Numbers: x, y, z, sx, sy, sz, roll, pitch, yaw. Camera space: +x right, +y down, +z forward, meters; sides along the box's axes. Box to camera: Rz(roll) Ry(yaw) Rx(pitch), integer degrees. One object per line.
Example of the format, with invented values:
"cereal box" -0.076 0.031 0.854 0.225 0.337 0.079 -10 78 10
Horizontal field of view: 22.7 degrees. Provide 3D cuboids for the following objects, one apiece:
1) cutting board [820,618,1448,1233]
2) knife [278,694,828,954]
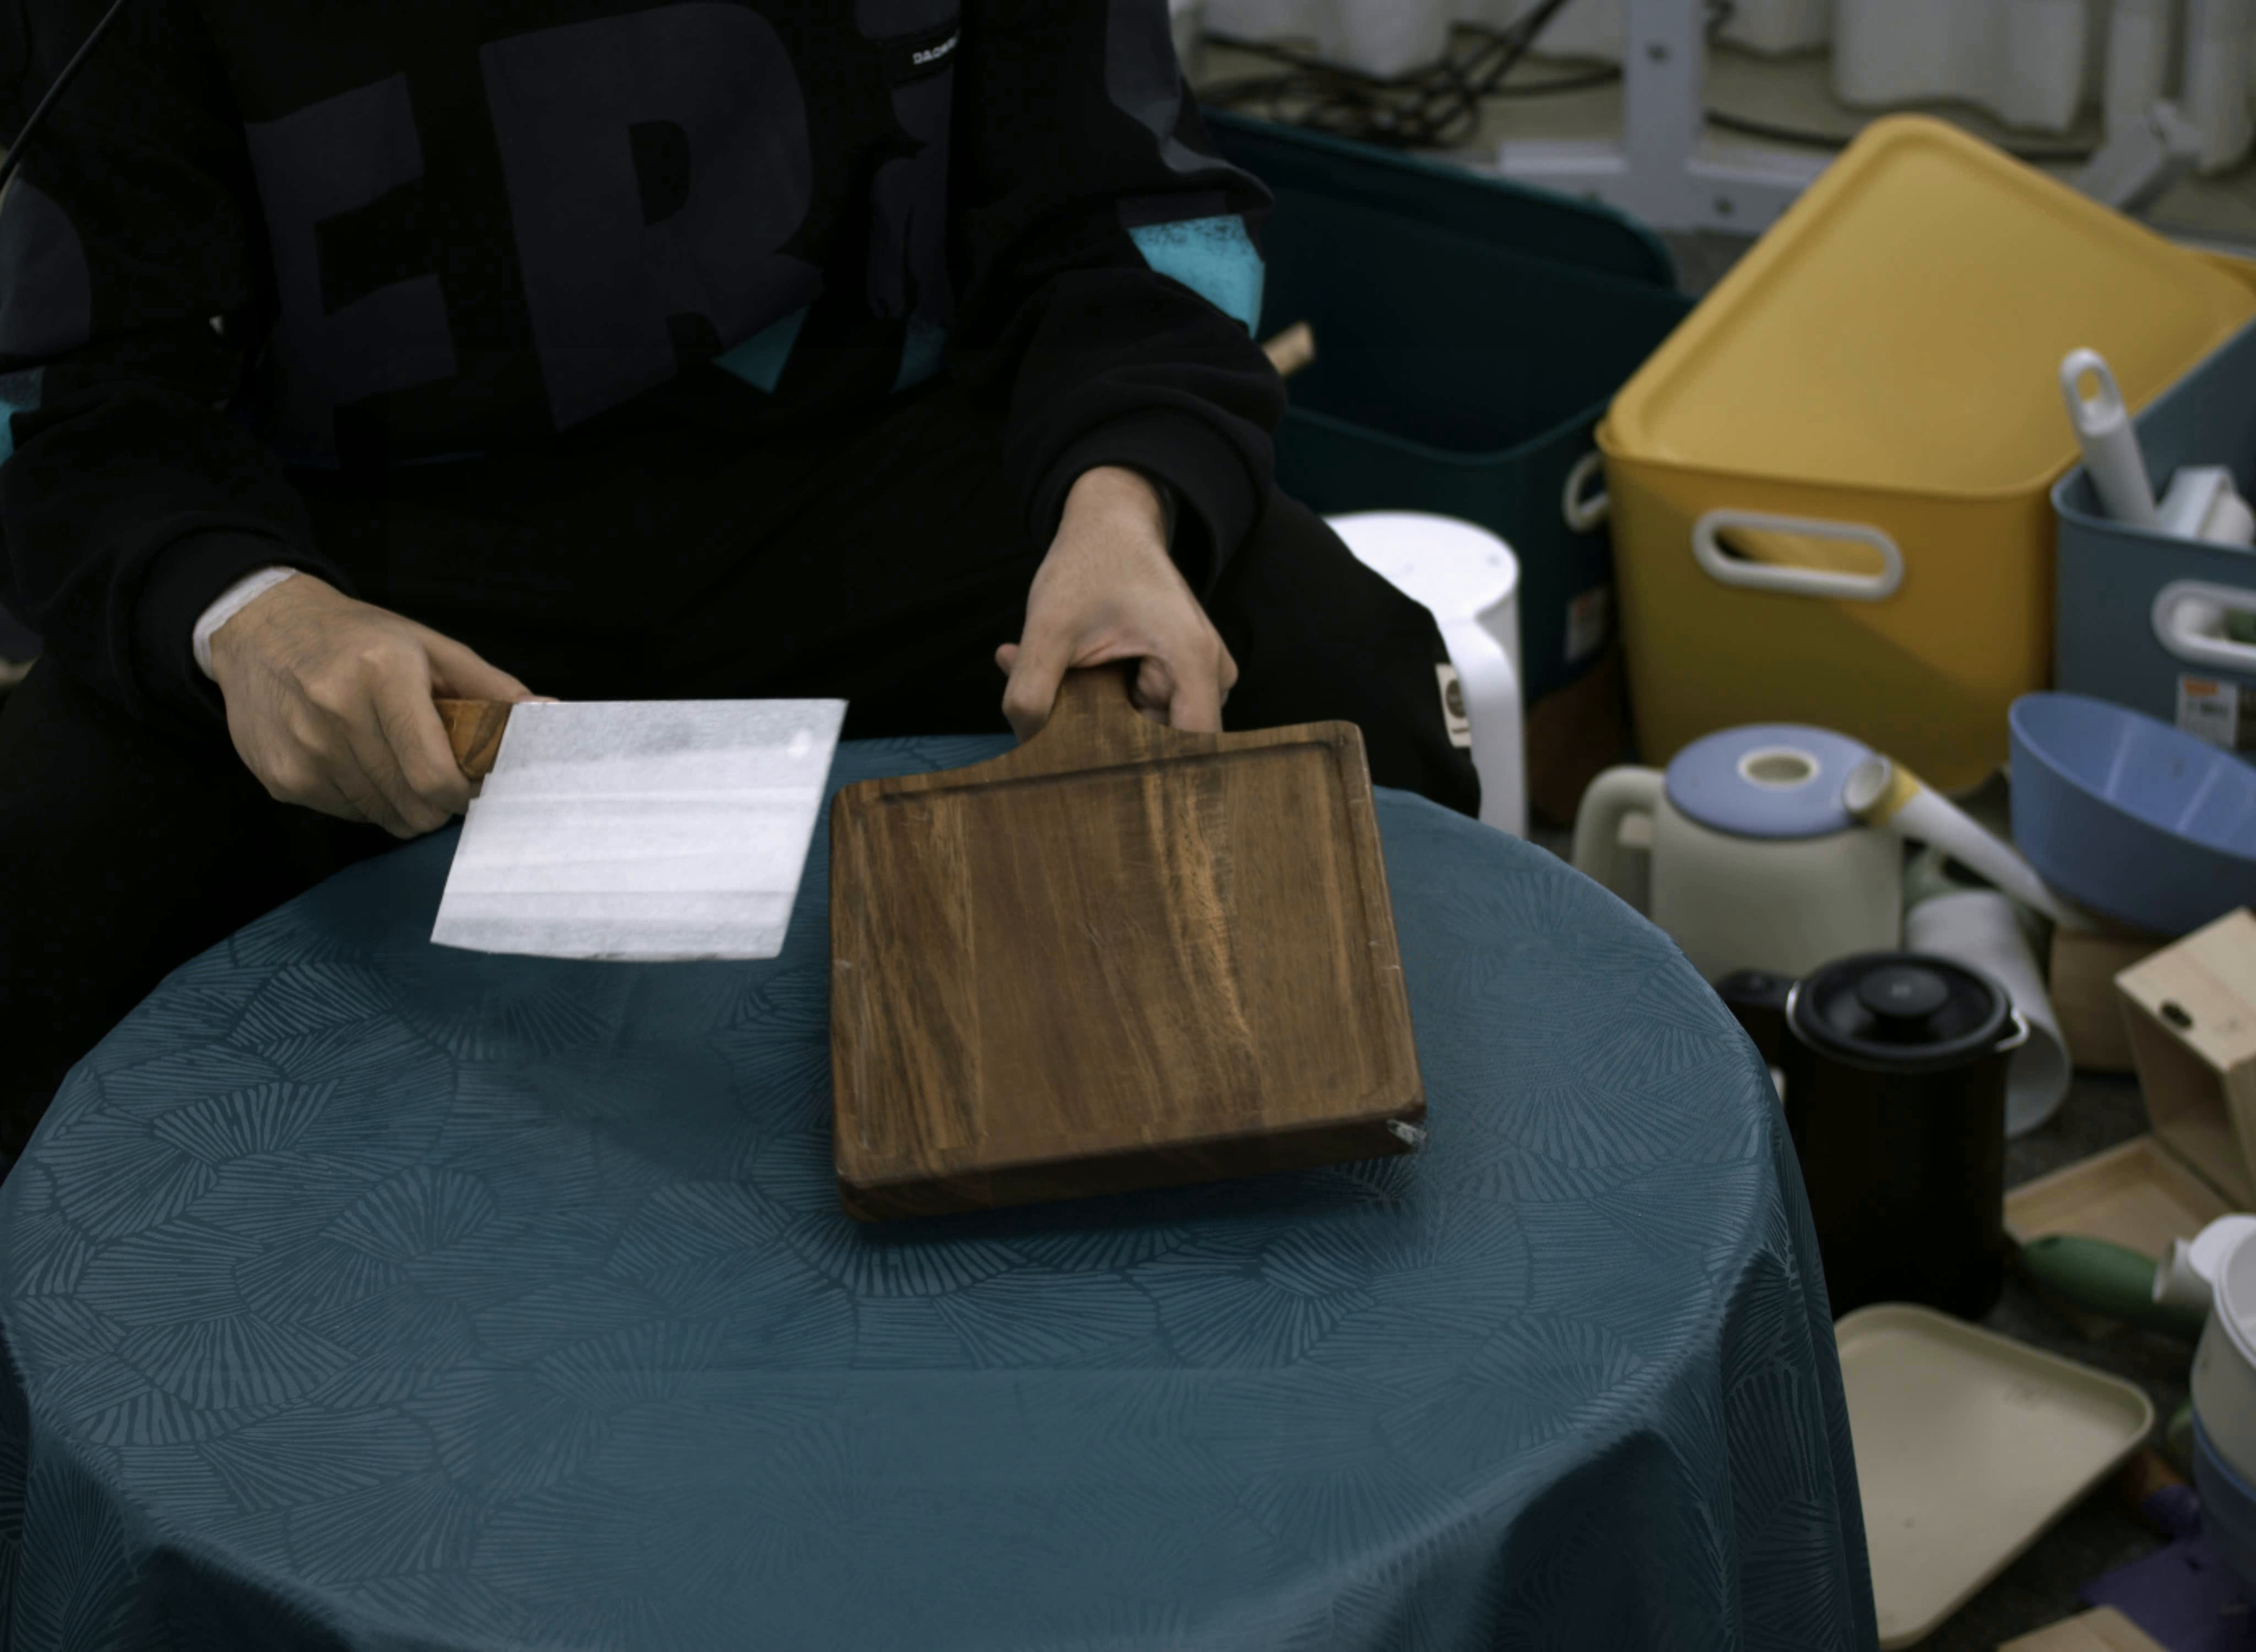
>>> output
"cutting board" -0.007 0.022 1.974 0.200 0.023 0.358 -7 31 -1
"knife" -0.206 0.000 1.932 0.021 0.094 0.303 25 -16 -40
